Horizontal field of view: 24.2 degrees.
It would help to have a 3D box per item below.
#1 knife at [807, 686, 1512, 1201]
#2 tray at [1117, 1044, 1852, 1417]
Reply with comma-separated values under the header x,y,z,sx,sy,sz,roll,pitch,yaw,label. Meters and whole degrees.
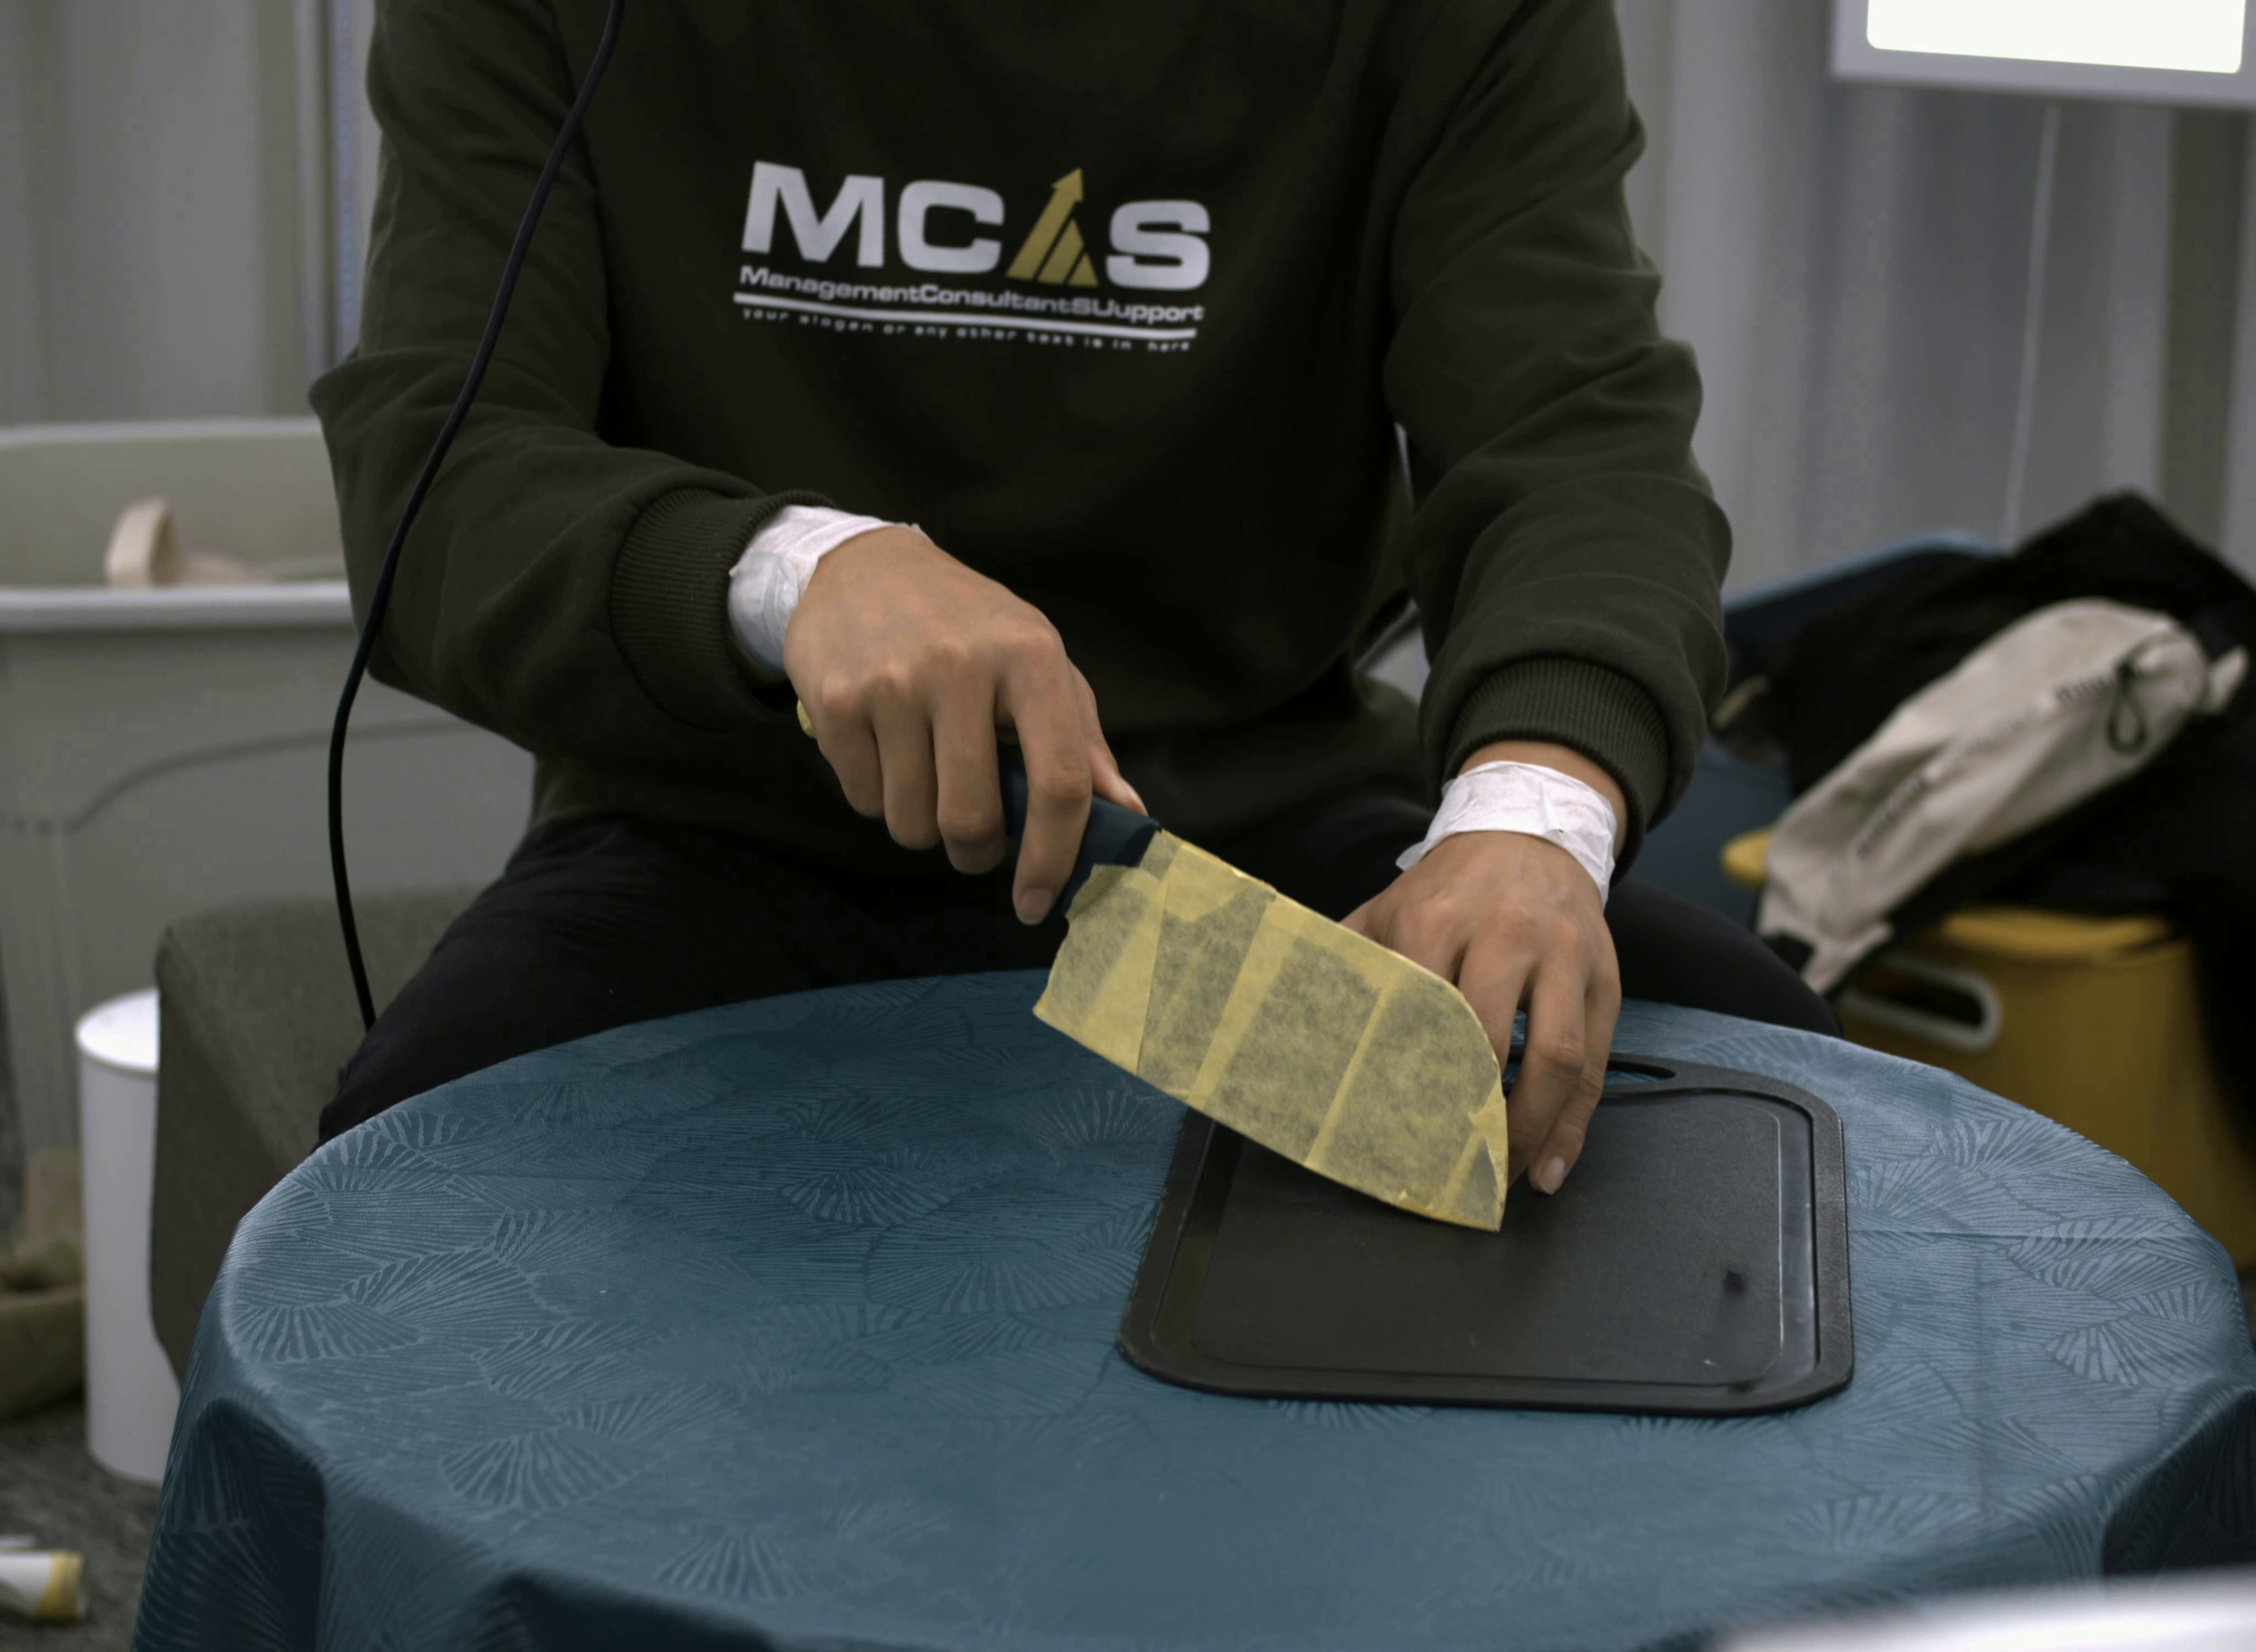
x,y,z,sx,sy,sz,roll,pitch,yaw,label
0.005,0.034,1.644,0.286,0.081,0.027,31,9,26,knife
0.113,0.115,1.605,0.210,0.010,0.324,2,16,6,tray
